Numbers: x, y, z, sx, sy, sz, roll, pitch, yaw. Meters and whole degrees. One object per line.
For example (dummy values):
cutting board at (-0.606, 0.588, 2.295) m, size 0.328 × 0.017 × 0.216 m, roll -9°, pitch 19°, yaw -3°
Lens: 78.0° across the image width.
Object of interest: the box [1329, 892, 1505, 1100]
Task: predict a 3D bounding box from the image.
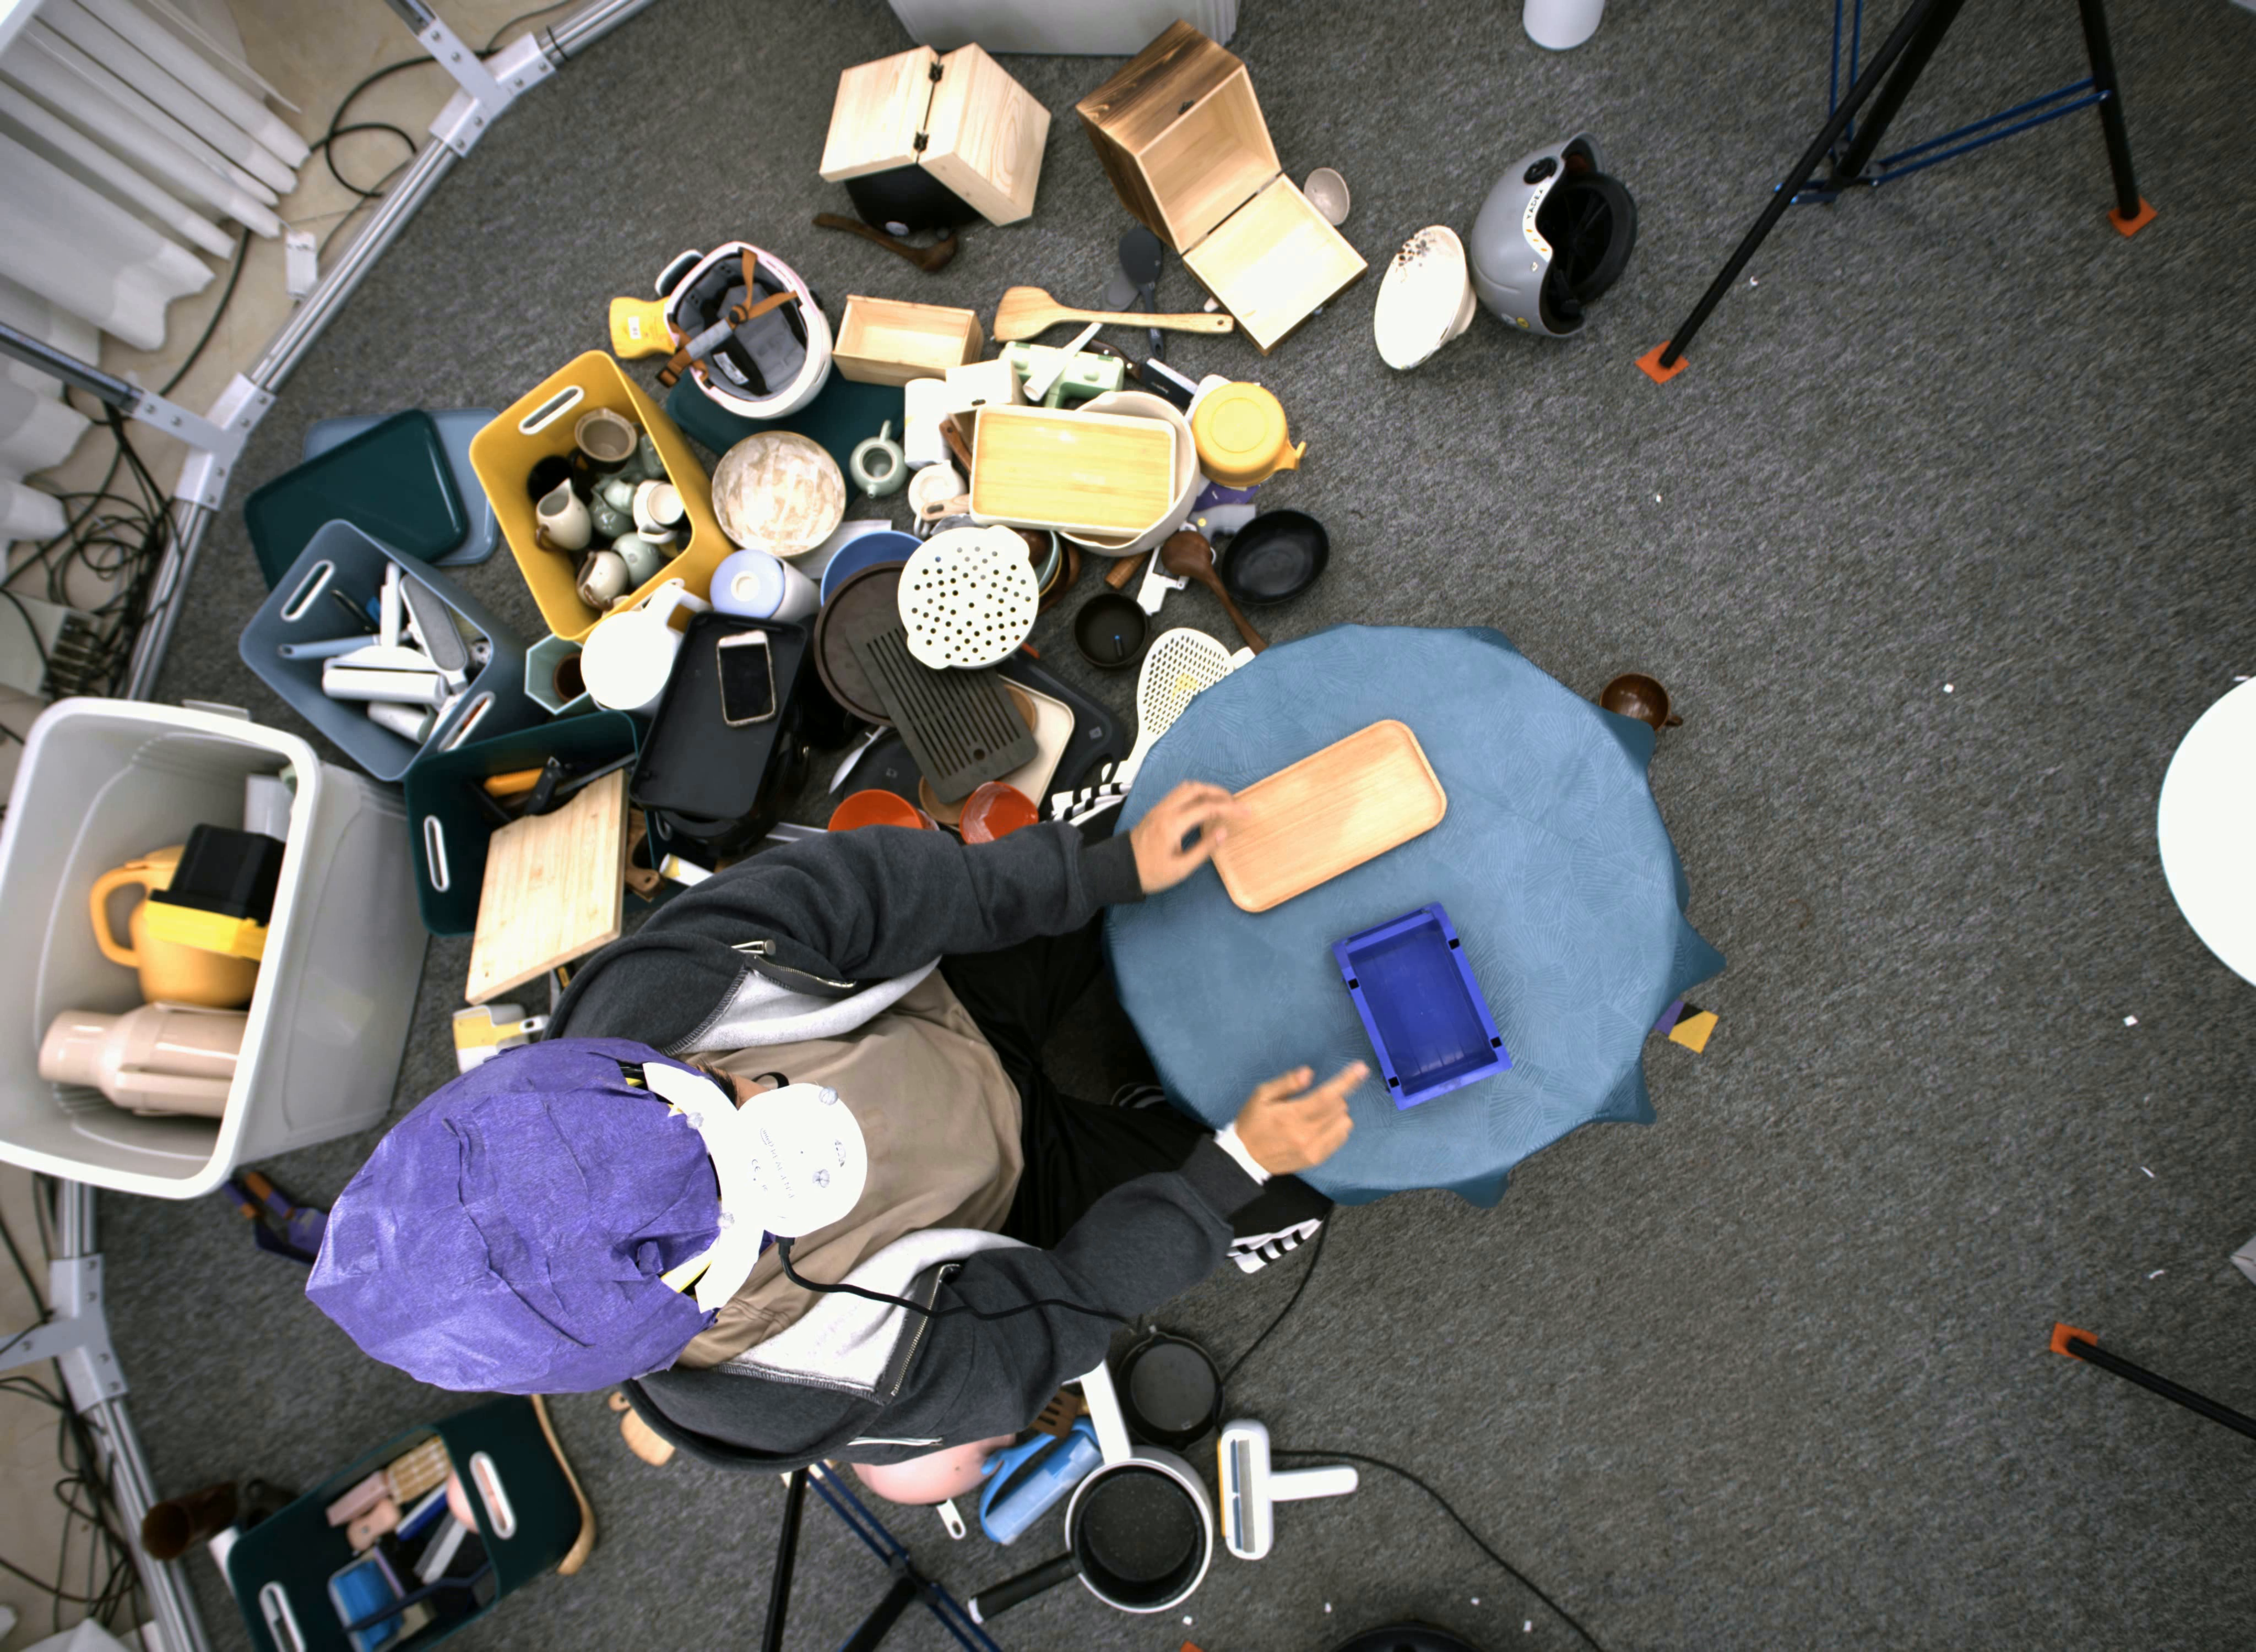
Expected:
box at (0.290, 0.170, 1.409) m, size 0.125 × 0.082 × 0.179 m, roll -20°, pitch 86°, yaw 8°

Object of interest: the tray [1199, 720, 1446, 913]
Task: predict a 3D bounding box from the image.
tray at (0.205, -0.010, 1.467) m, size 0.252 × 0.023 × 0.129 m, roll -27°, pitch 80°, yaw 8°
